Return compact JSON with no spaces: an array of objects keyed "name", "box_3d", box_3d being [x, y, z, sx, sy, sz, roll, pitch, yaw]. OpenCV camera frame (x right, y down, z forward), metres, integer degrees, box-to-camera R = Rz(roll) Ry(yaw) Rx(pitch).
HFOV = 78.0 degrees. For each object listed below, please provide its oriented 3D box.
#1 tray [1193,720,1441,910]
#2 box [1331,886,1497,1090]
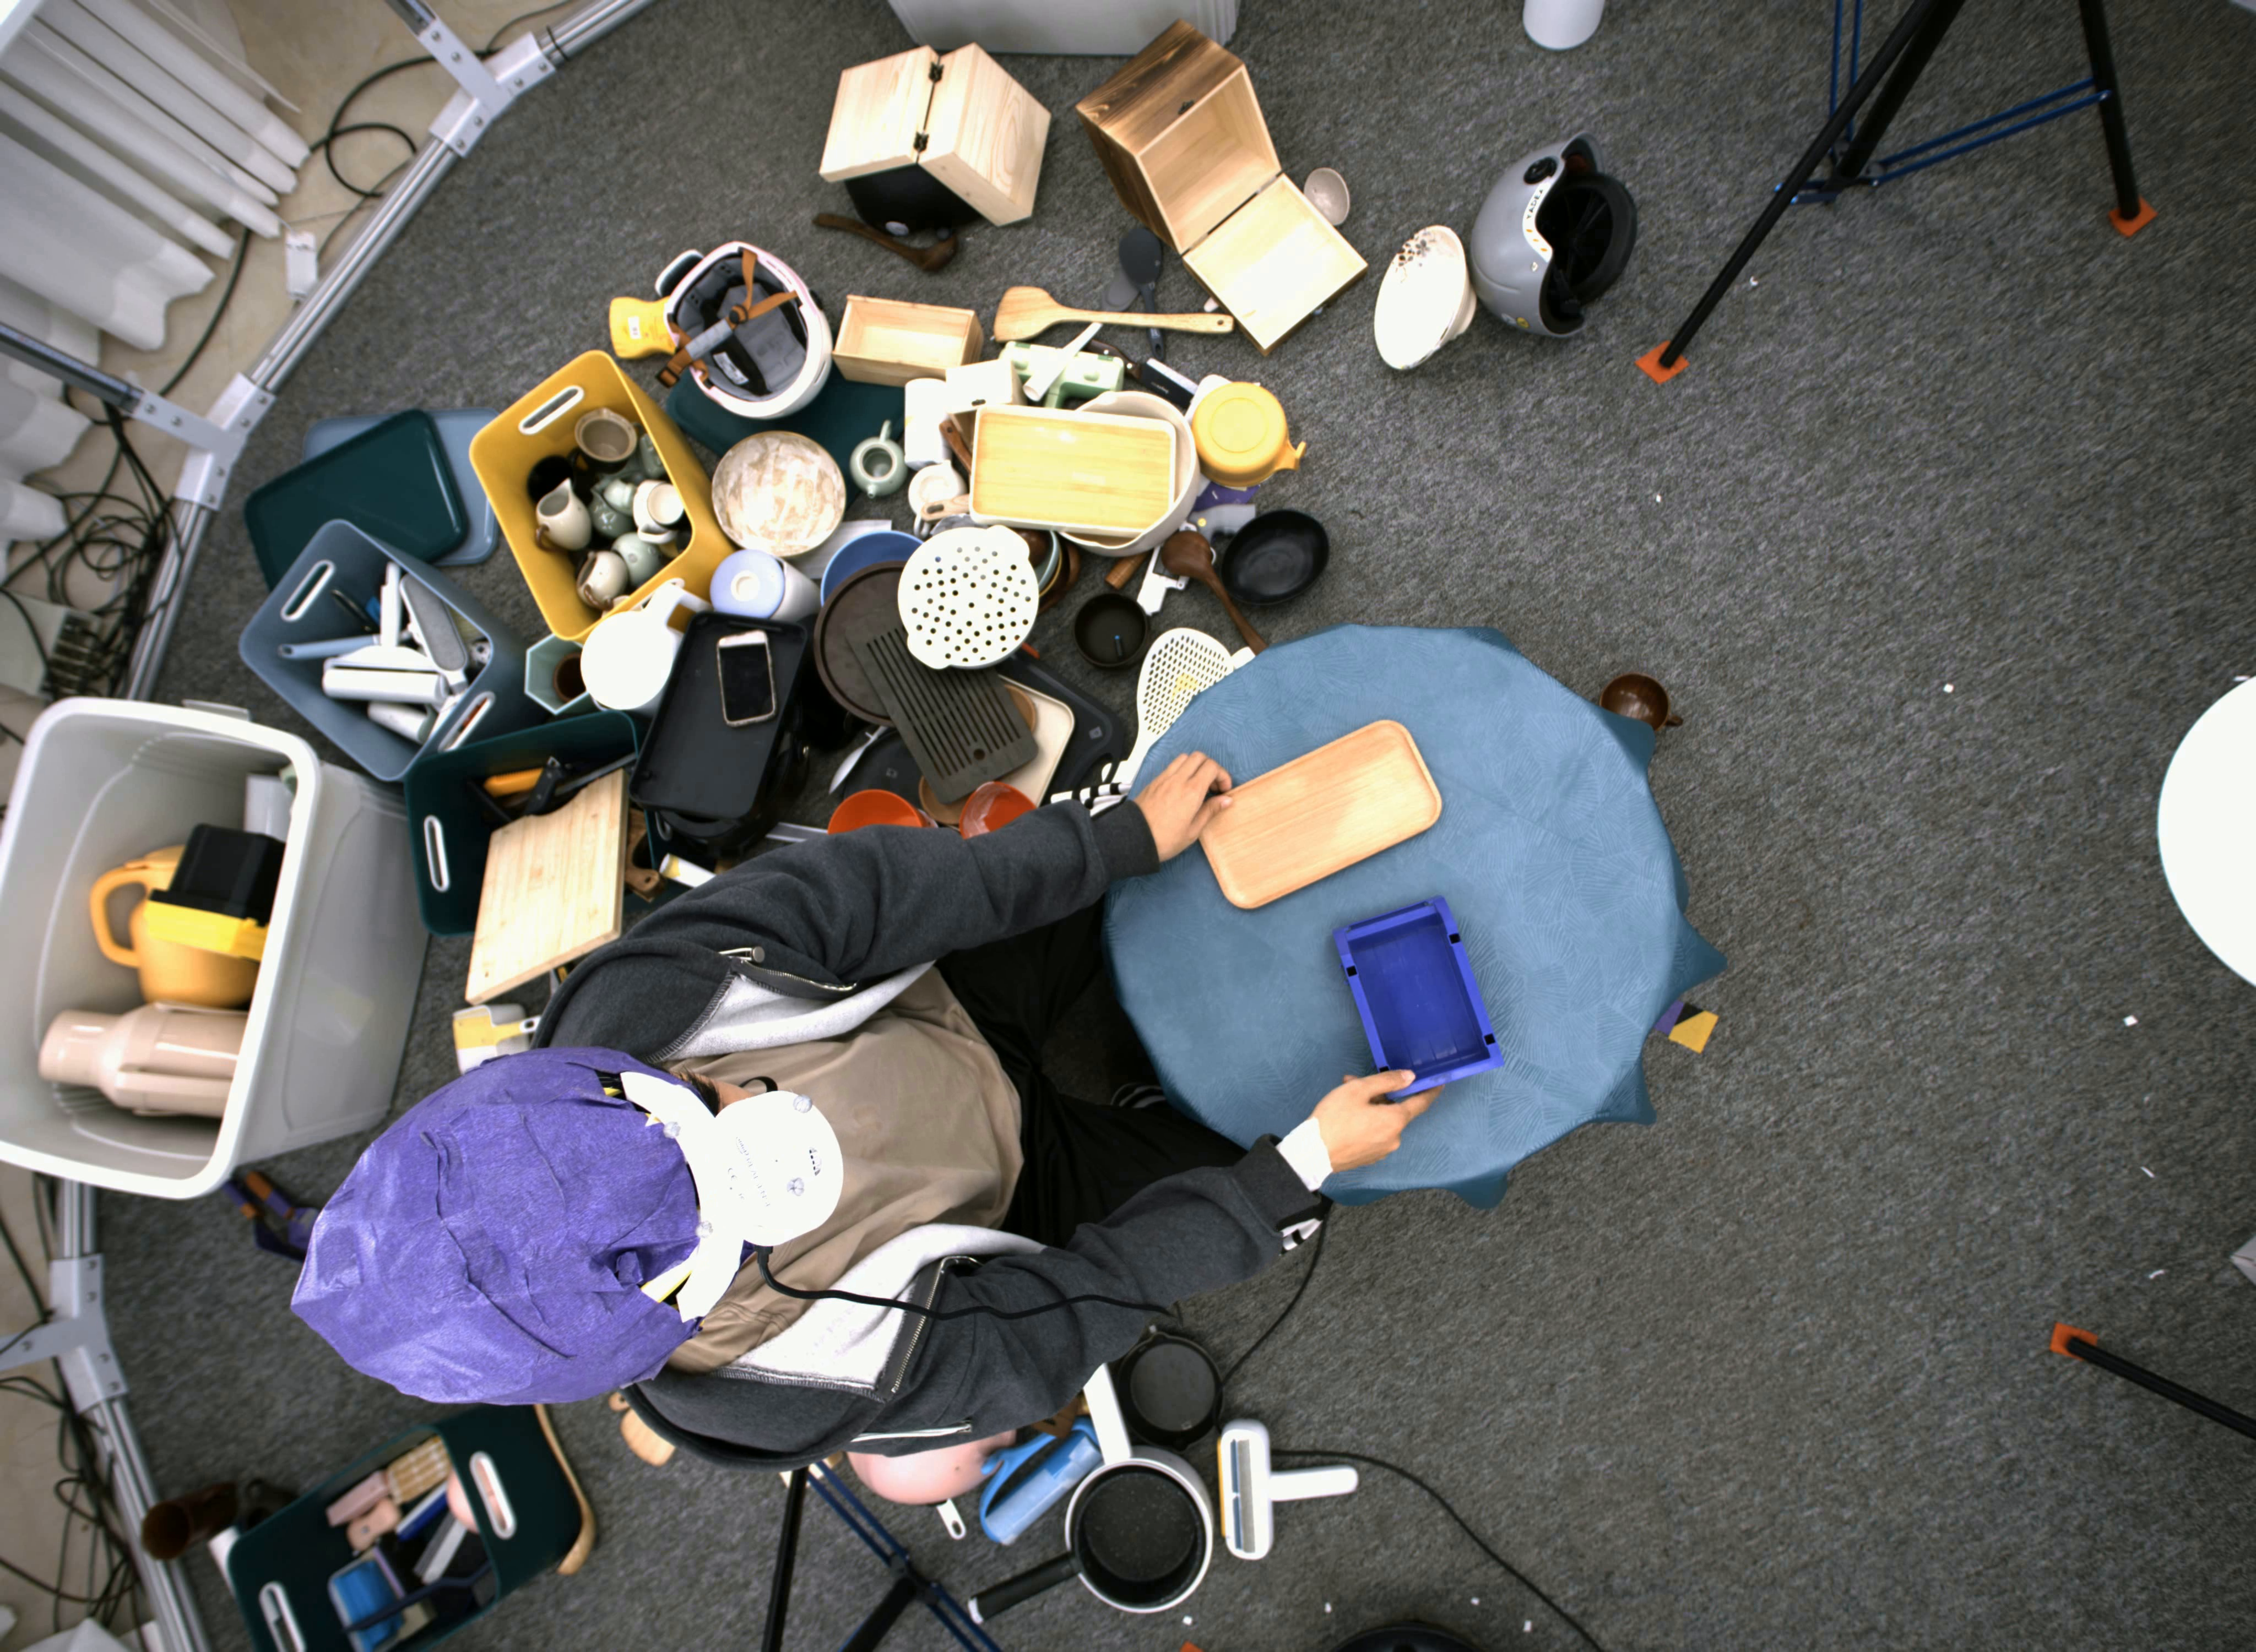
[{"name":"tray","box_3d":[0.200,-0.012,1.468,0.252,0.023,0.129,-25,80,9]},{"name":"box","box_3d":[0.287,0.162,1.410,0.125,0.082,0.179,-16,87,9]}]
